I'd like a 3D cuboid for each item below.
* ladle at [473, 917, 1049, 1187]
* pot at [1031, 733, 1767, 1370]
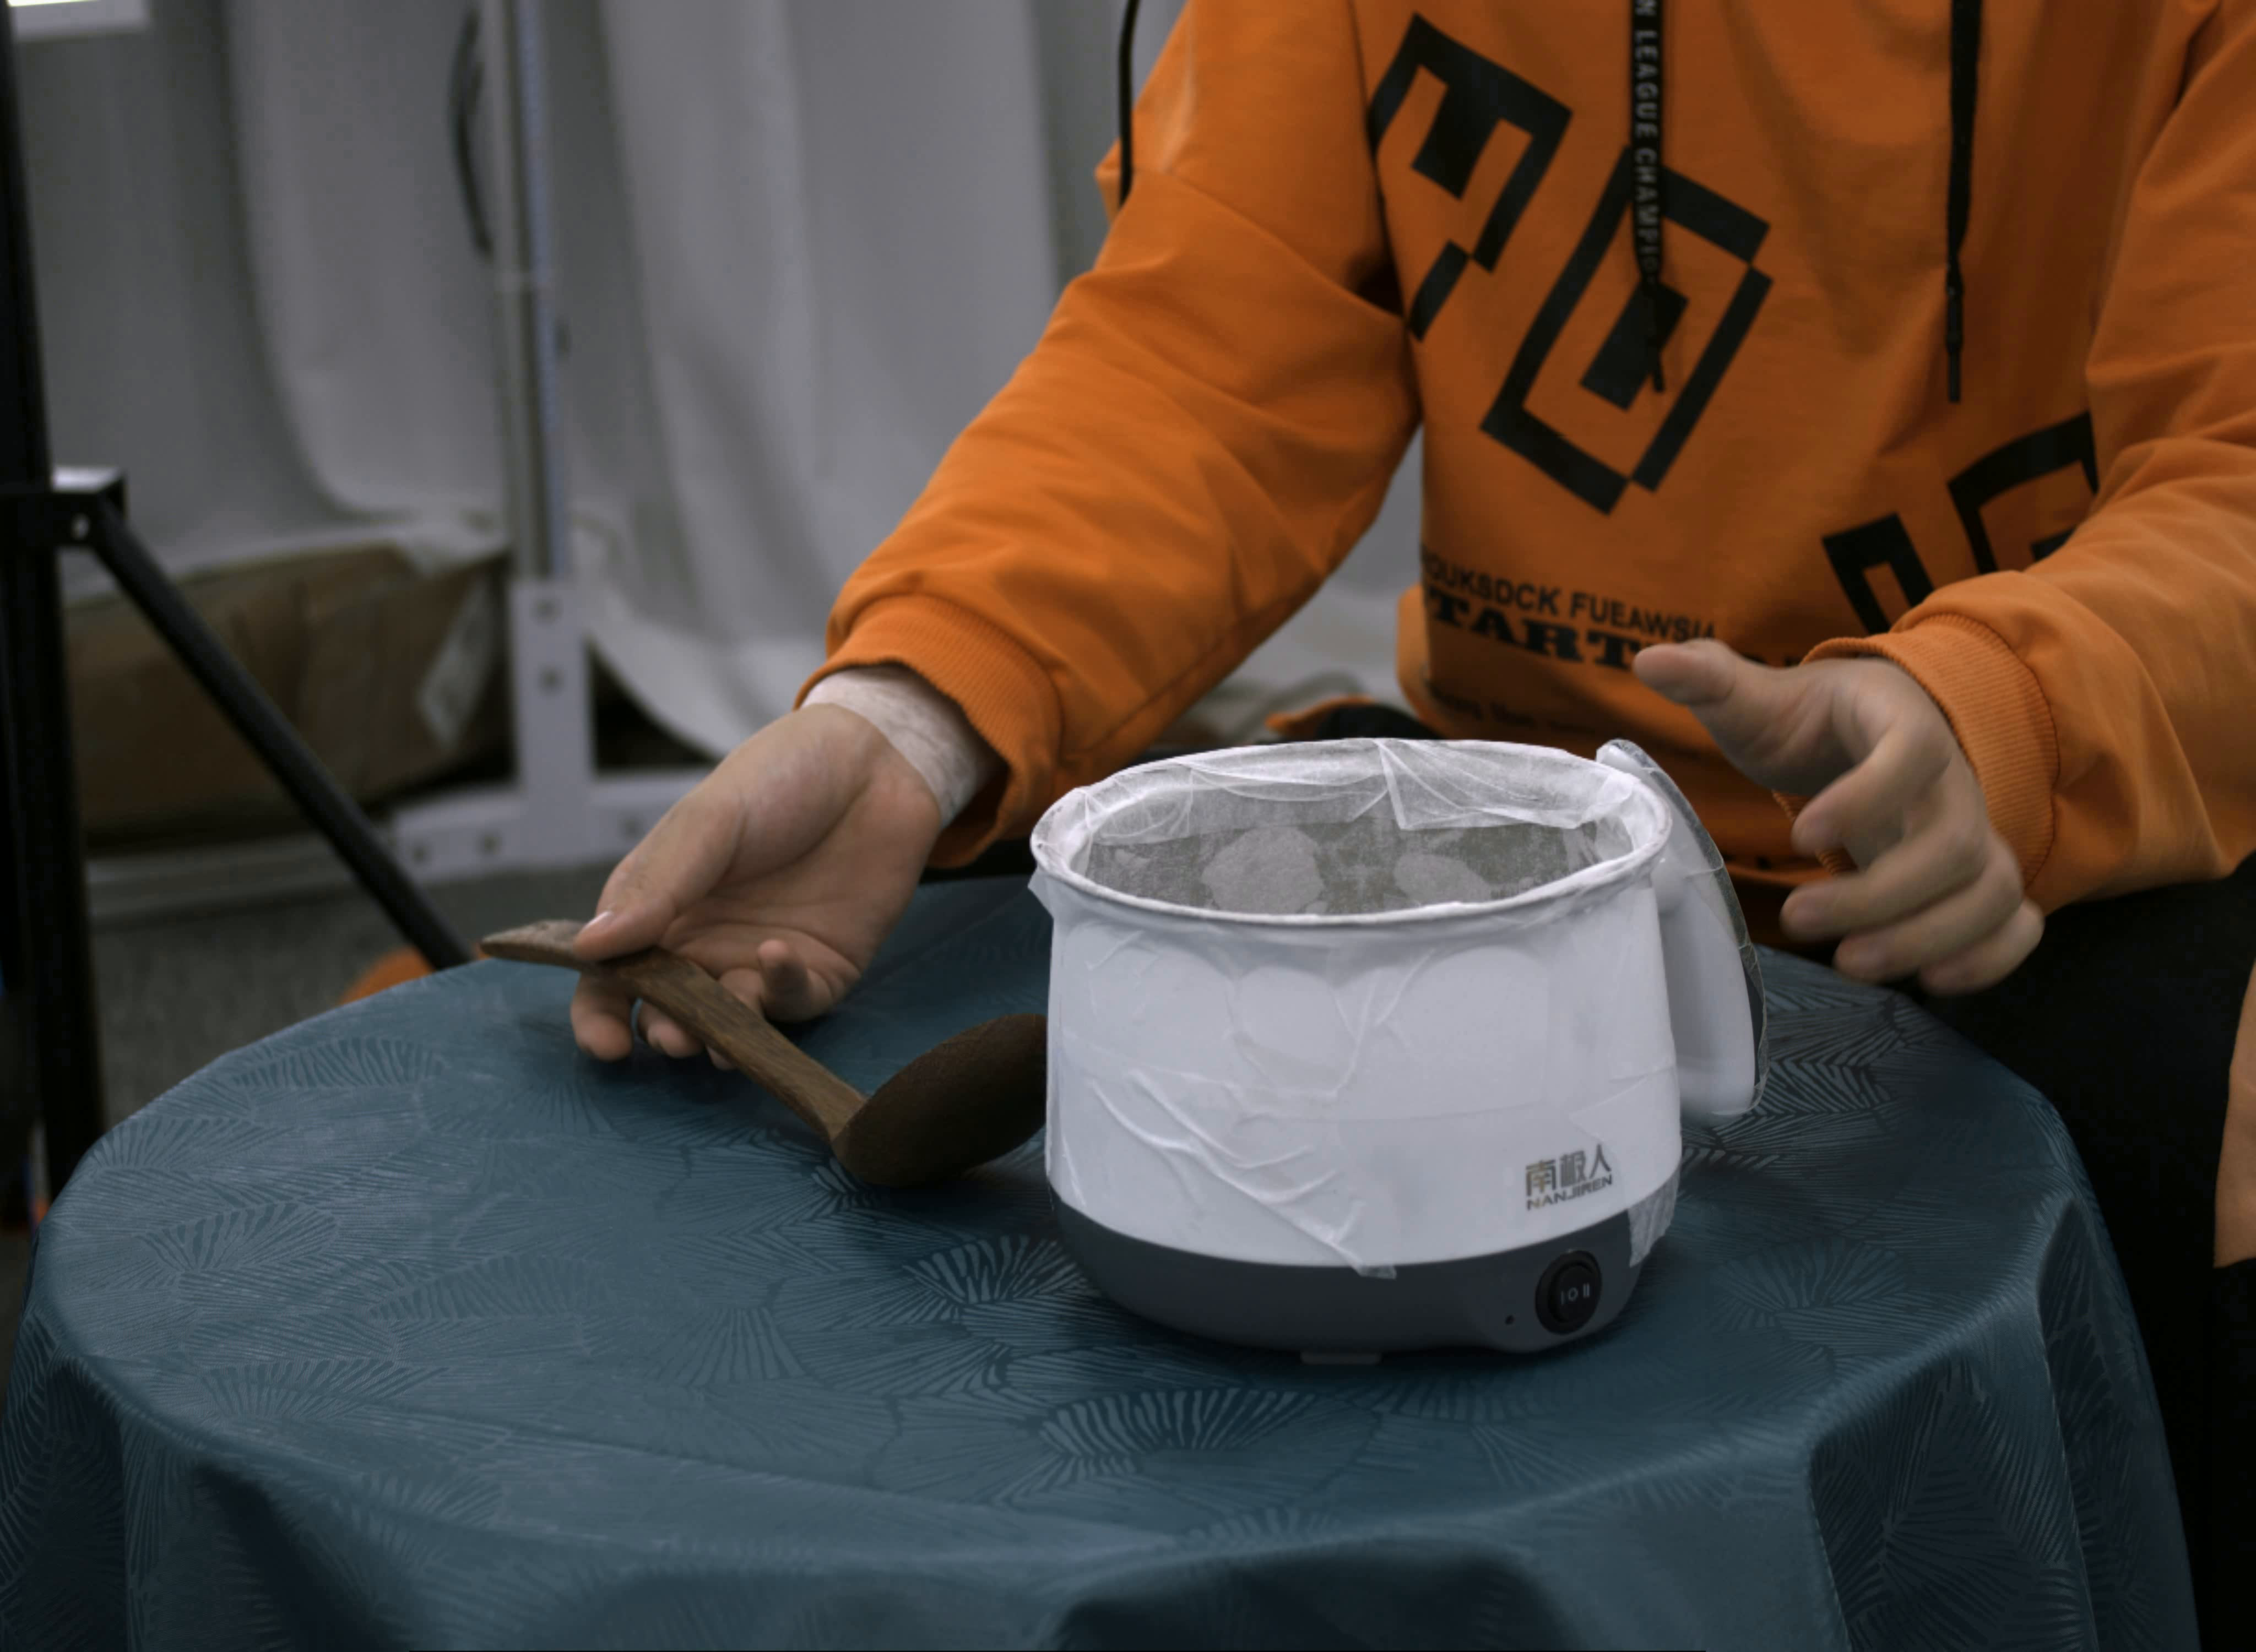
[{"bbox_3d":[-0.119,0.047,1.636,0.074,0.071,0.280,-12,25,-36],"label":"ladle"},{"bbox_3d":[0.085,0.055,1.480,0.228,0.136,0.183,-14,20,-35],"label":"pot"}]
